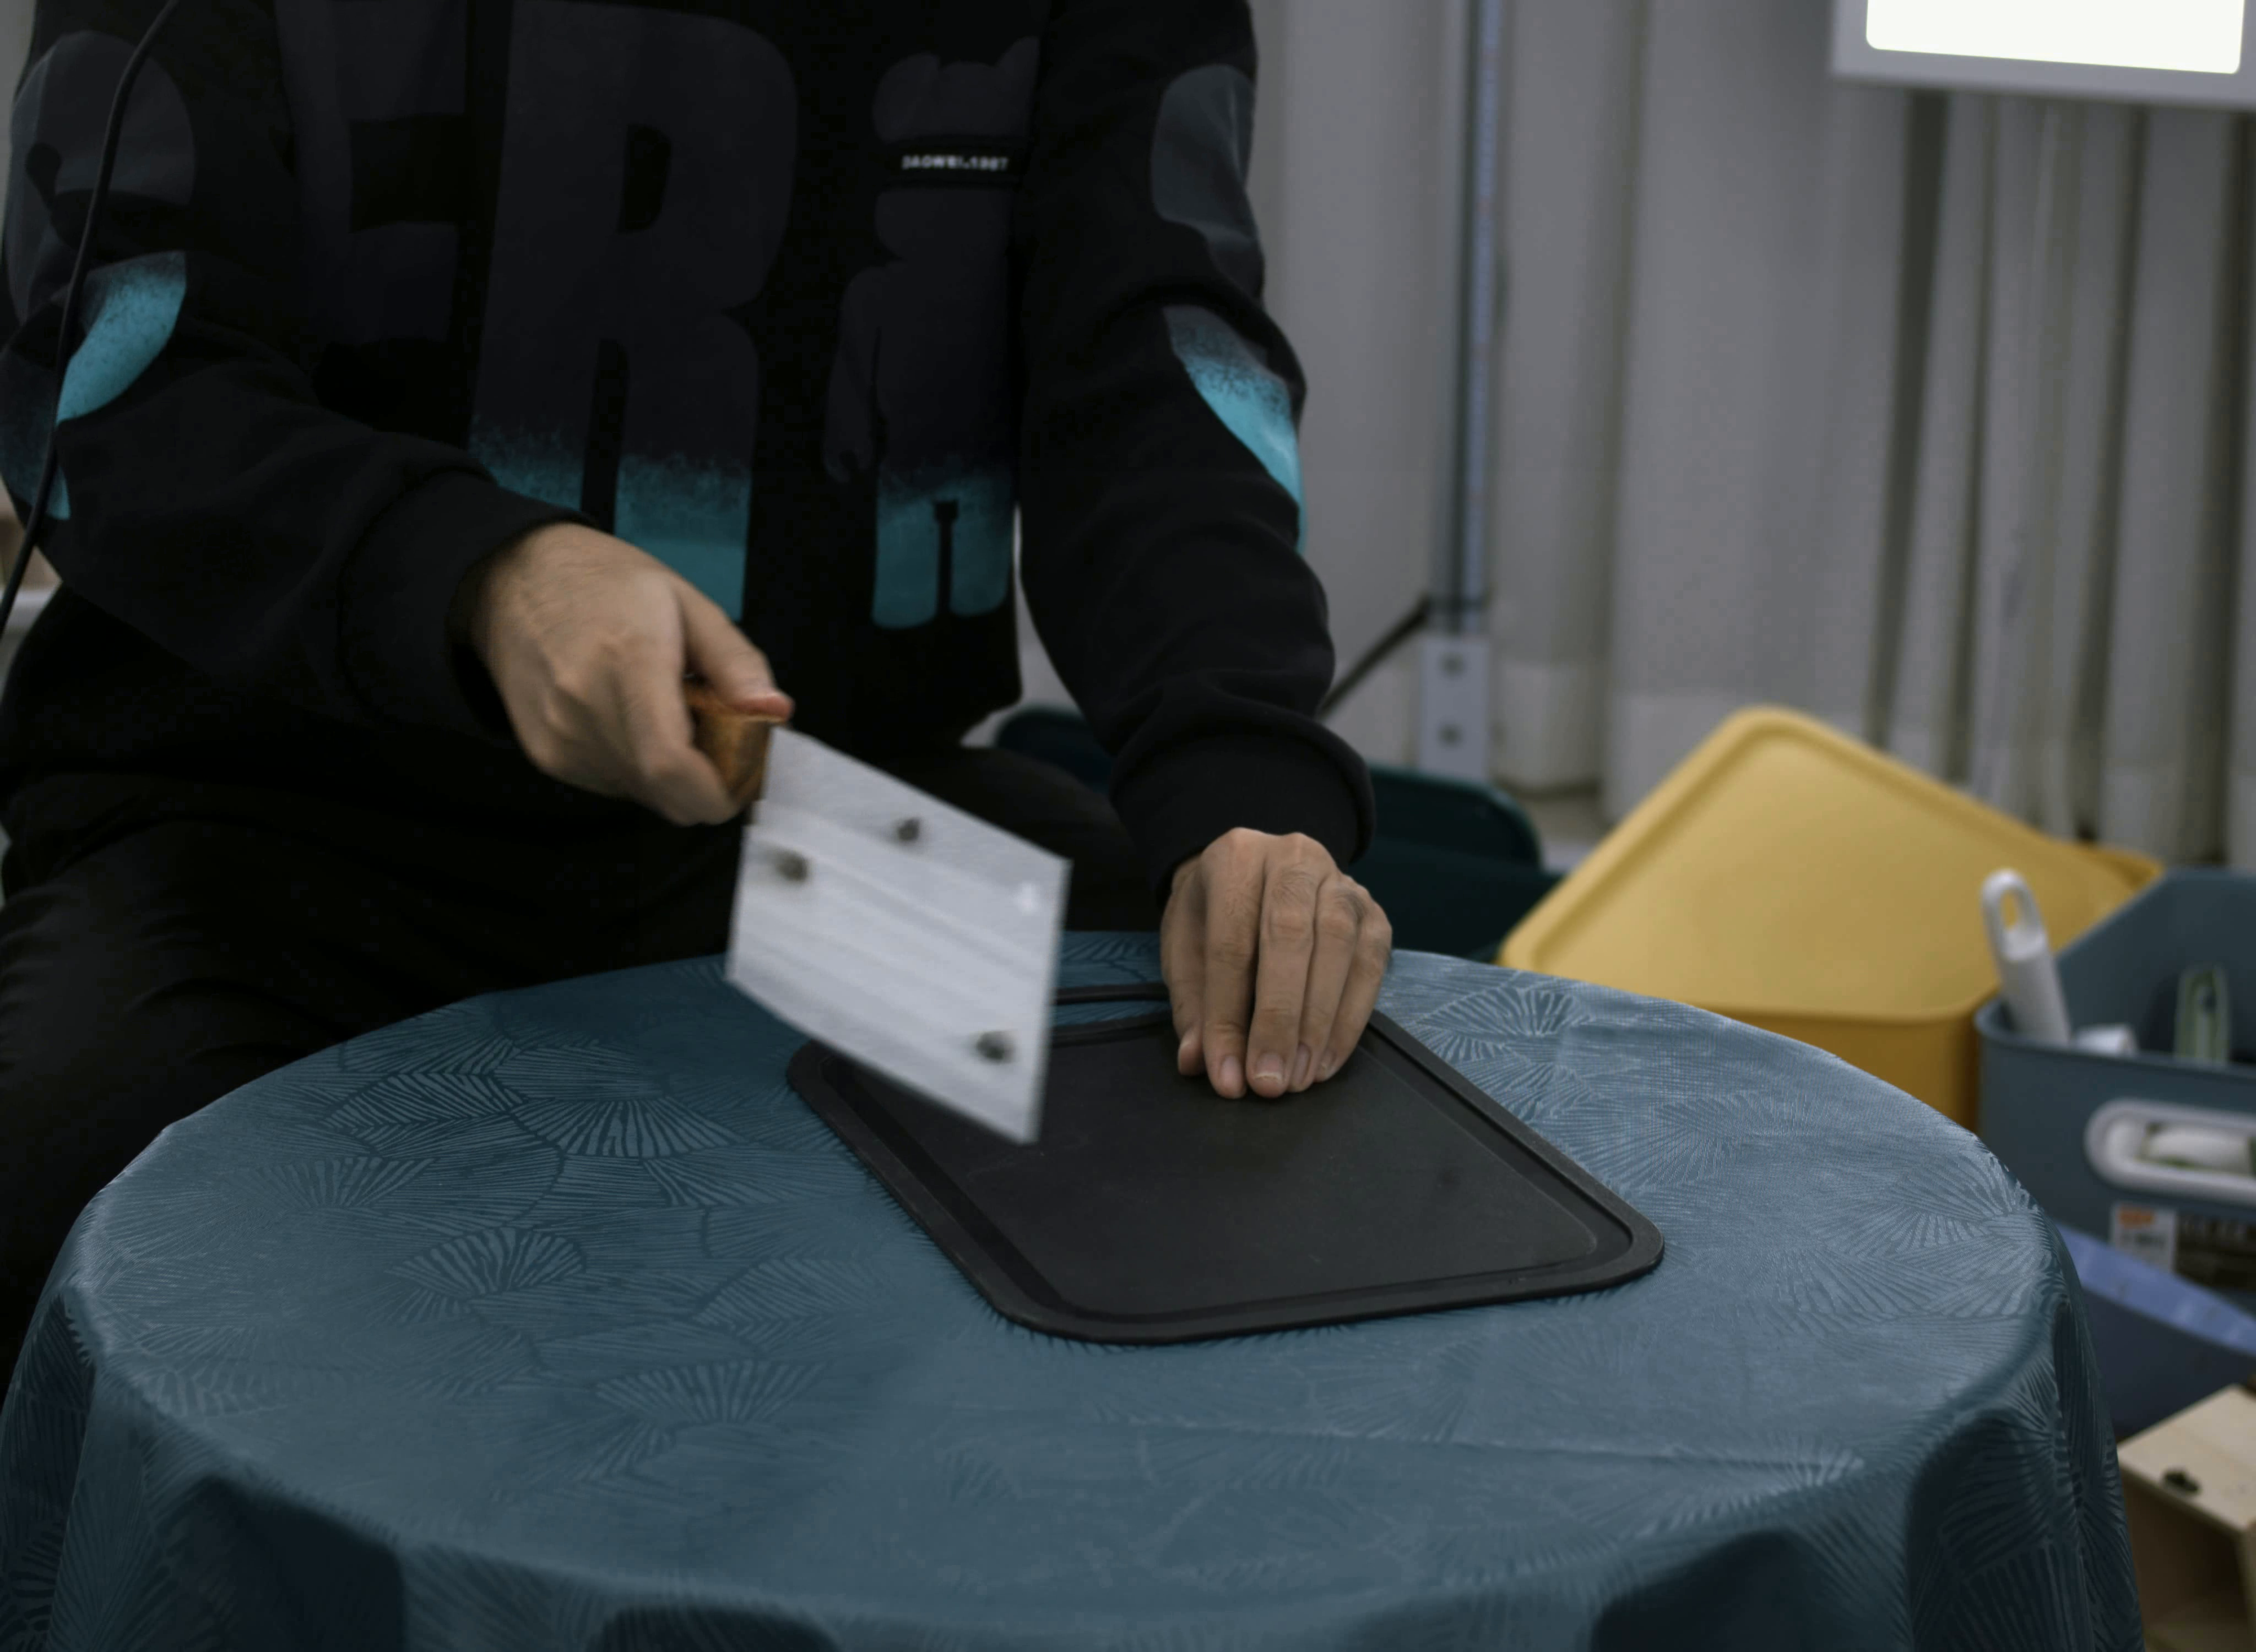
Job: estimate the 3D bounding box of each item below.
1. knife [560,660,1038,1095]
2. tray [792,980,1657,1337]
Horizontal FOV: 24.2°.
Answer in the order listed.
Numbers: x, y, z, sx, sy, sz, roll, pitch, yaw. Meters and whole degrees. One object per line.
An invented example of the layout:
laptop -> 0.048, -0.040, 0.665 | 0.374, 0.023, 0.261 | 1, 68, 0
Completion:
knife -> -0.111, 0.016, 1.675 | 0.021, 0.093, 0.302 | 2, 13, -33
tray -> 0.020, 0.097, 1.663 | 0.211, 0.010, 0.322 | -5, 17, -18
